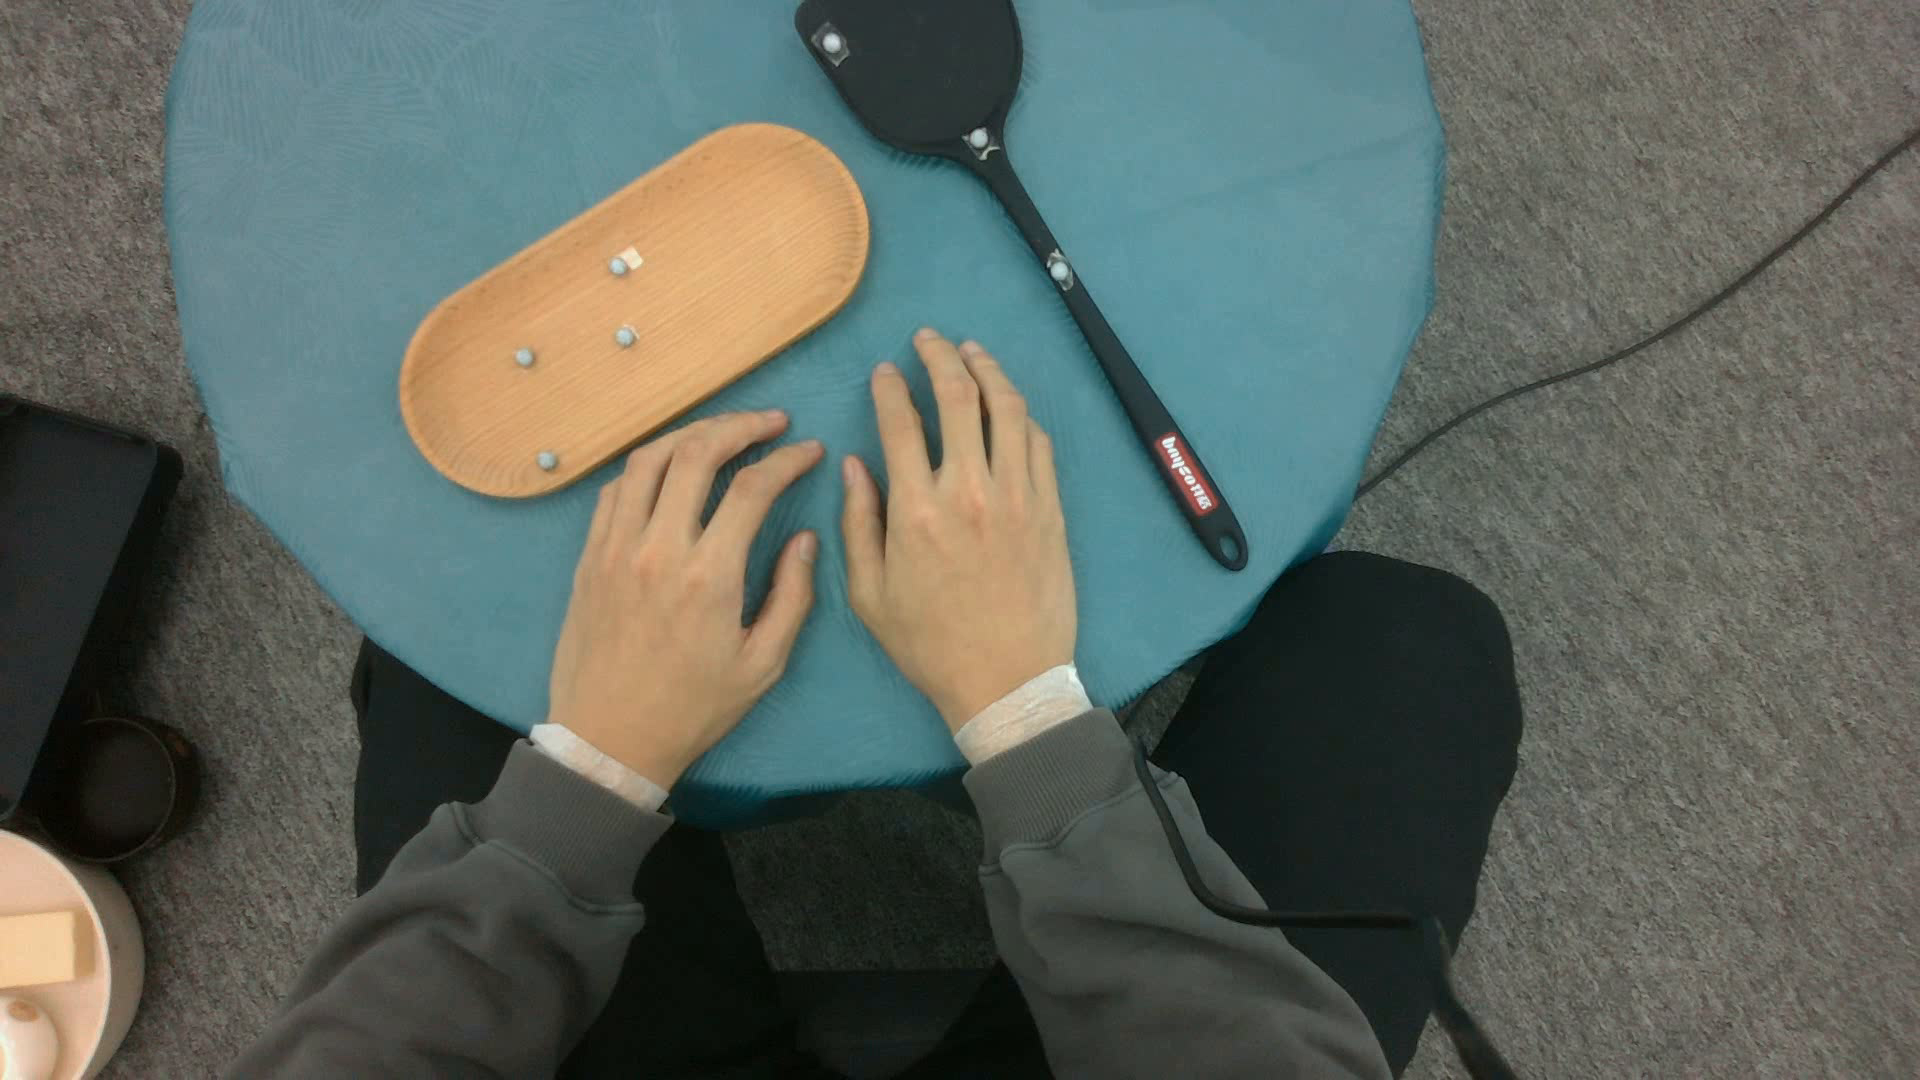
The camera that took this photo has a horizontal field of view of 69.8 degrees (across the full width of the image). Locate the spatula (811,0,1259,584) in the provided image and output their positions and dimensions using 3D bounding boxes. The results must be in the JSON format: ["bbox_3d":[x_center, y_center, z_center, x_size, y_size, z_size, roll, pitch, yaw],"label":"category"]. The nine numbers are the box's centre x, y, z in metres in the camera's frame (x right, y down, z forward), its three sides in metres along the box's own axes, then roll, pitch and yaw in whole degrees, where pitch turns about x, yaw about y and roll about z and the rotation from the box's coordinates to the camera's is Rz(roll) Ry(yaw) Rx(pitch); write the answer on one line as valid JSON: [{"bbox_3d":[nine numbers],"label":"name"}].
[{"bbox_3d":[0.051,-0.119,0.644,0.100,0.040,0.326,-32,85,-2],"label":"spatula"}]

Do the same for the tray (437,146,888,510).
[{"bbox_3d":[-0.139,-0.100,0.651,0.231,0.020,0.102,-34,85,-5],"label":"tray"}]
